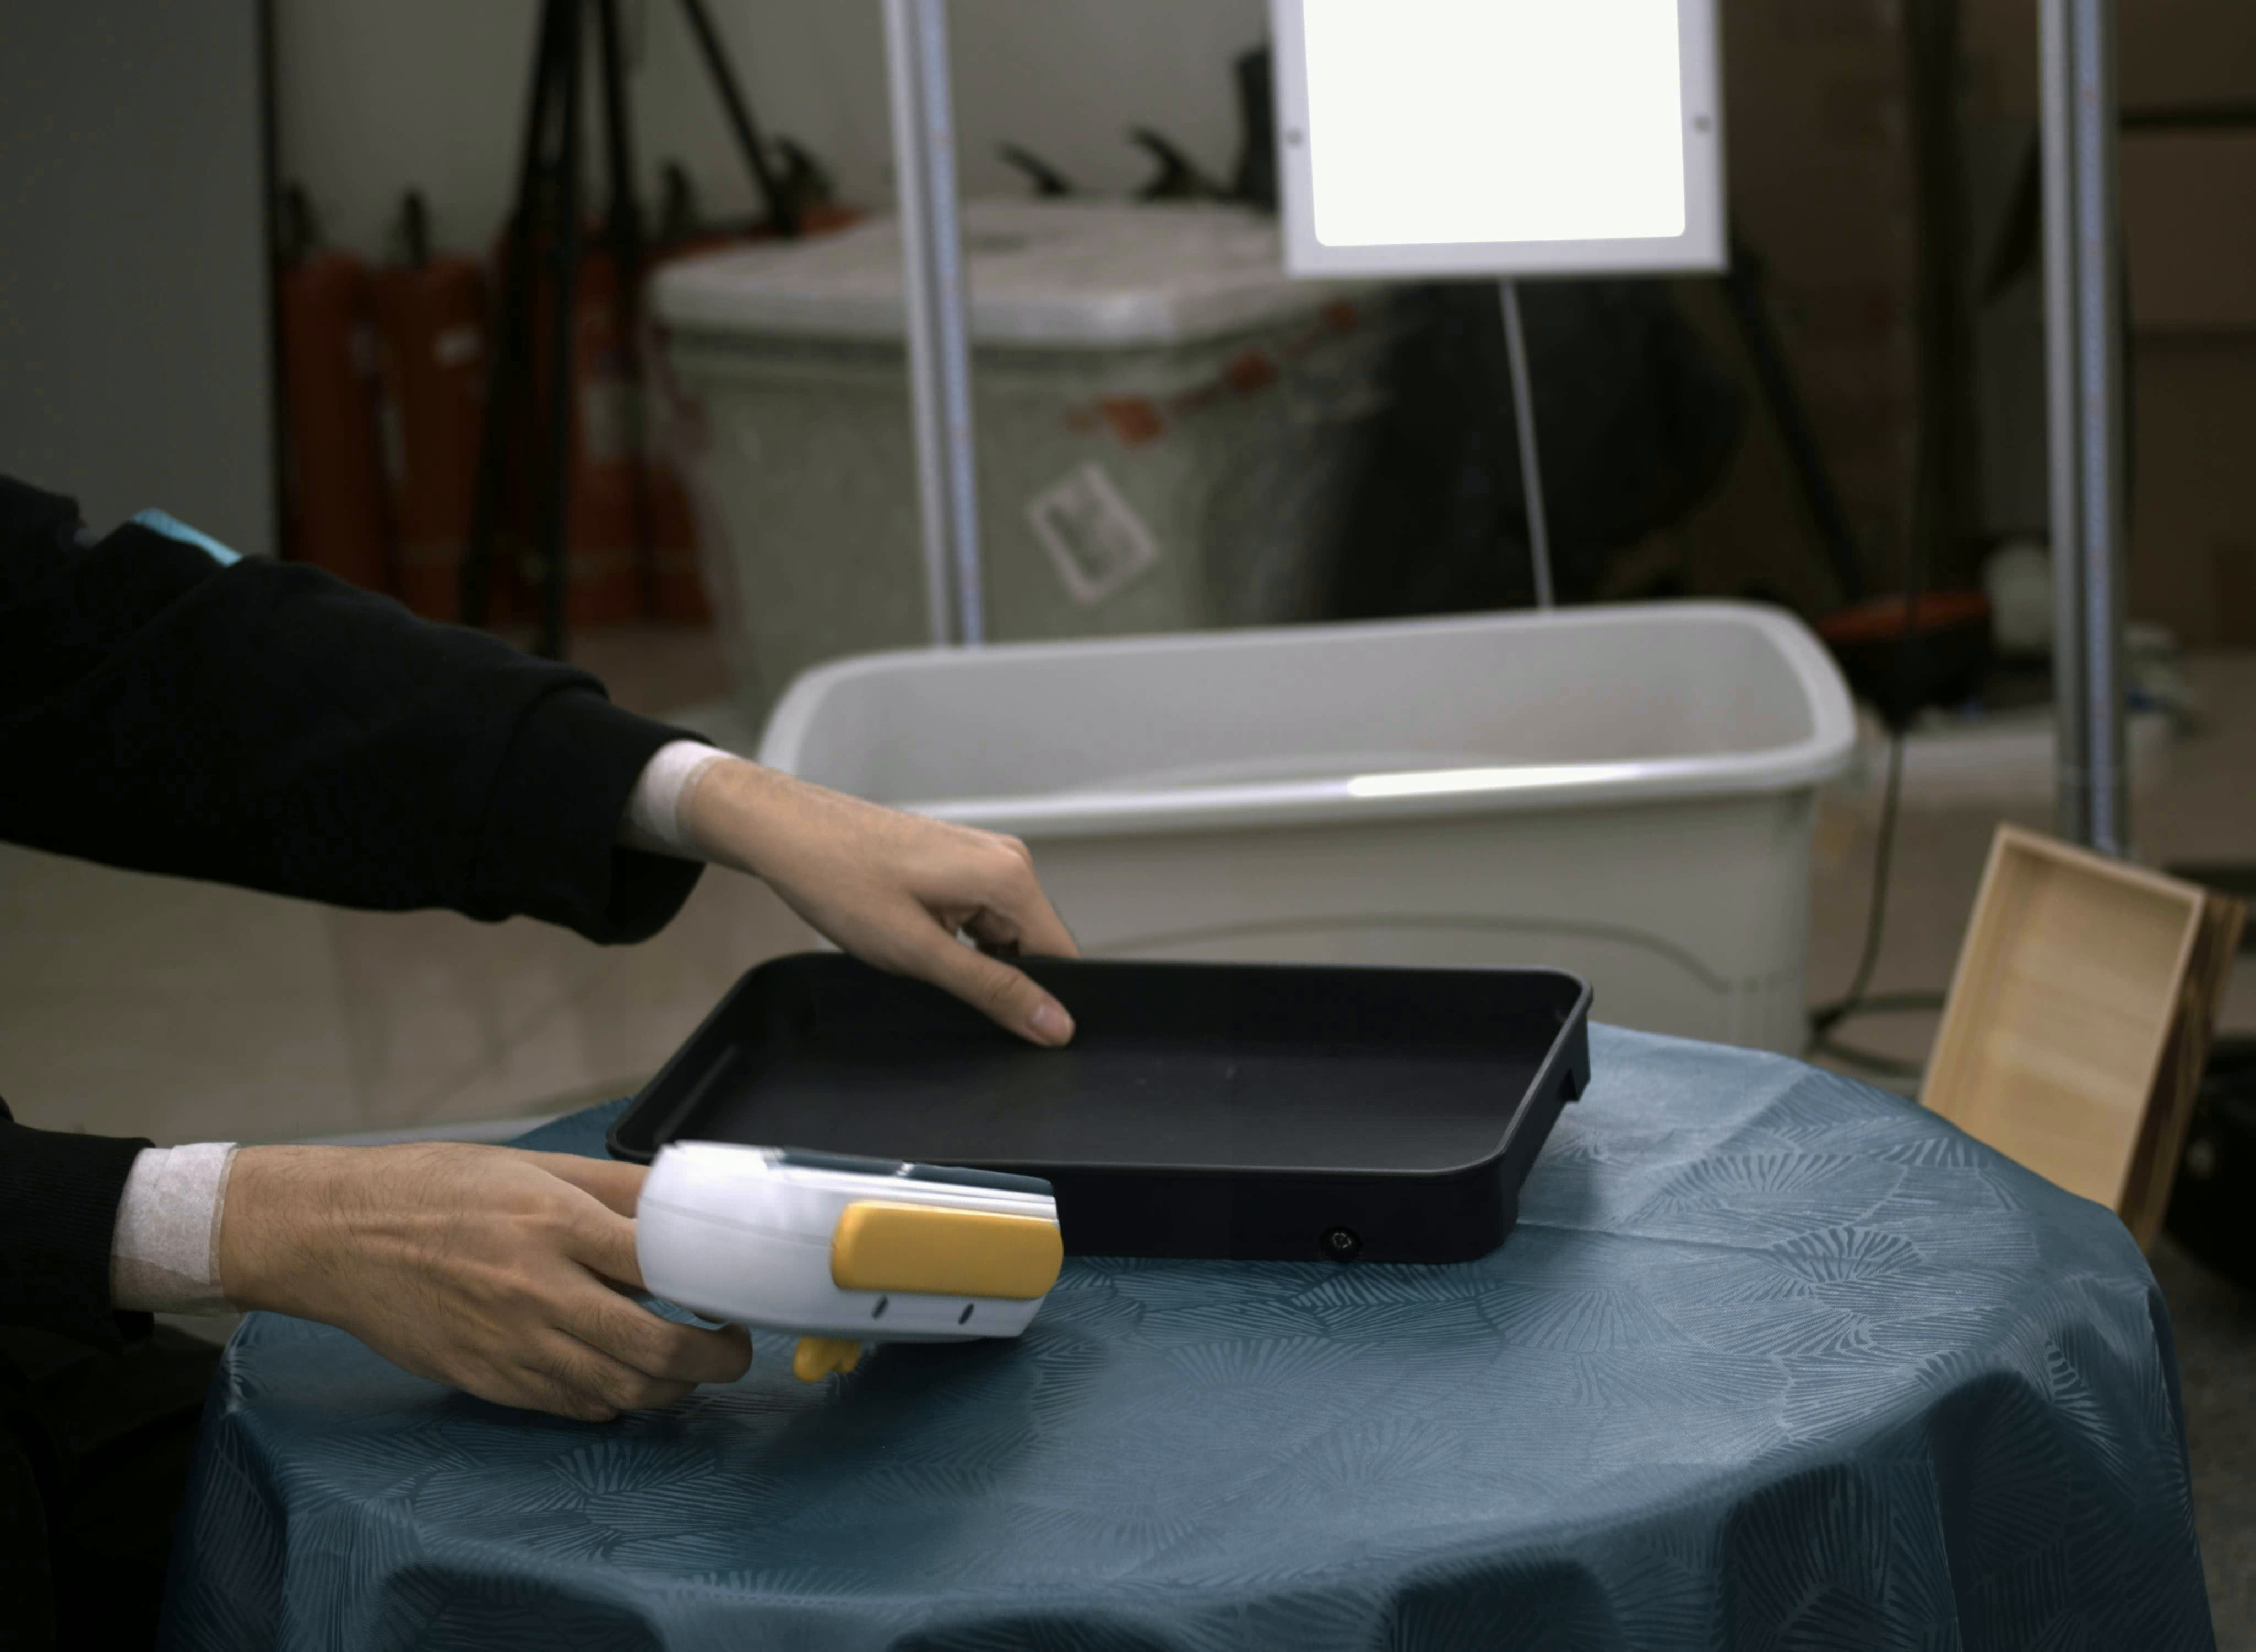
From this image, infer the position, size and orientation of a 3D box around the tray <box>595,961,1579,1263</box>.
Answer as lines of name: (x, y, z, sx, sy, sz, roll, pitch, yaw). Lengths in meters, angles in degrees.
tray: (-0.011, 0.097, 1.911, 0.321, 0.037, 0.181, 0, 20, 18)

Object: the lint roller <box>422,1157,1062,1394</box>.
lint roller: (-0.138, 0.136, 1.722, 0.196, 0.074, 0.188, 1, 0, 30)
